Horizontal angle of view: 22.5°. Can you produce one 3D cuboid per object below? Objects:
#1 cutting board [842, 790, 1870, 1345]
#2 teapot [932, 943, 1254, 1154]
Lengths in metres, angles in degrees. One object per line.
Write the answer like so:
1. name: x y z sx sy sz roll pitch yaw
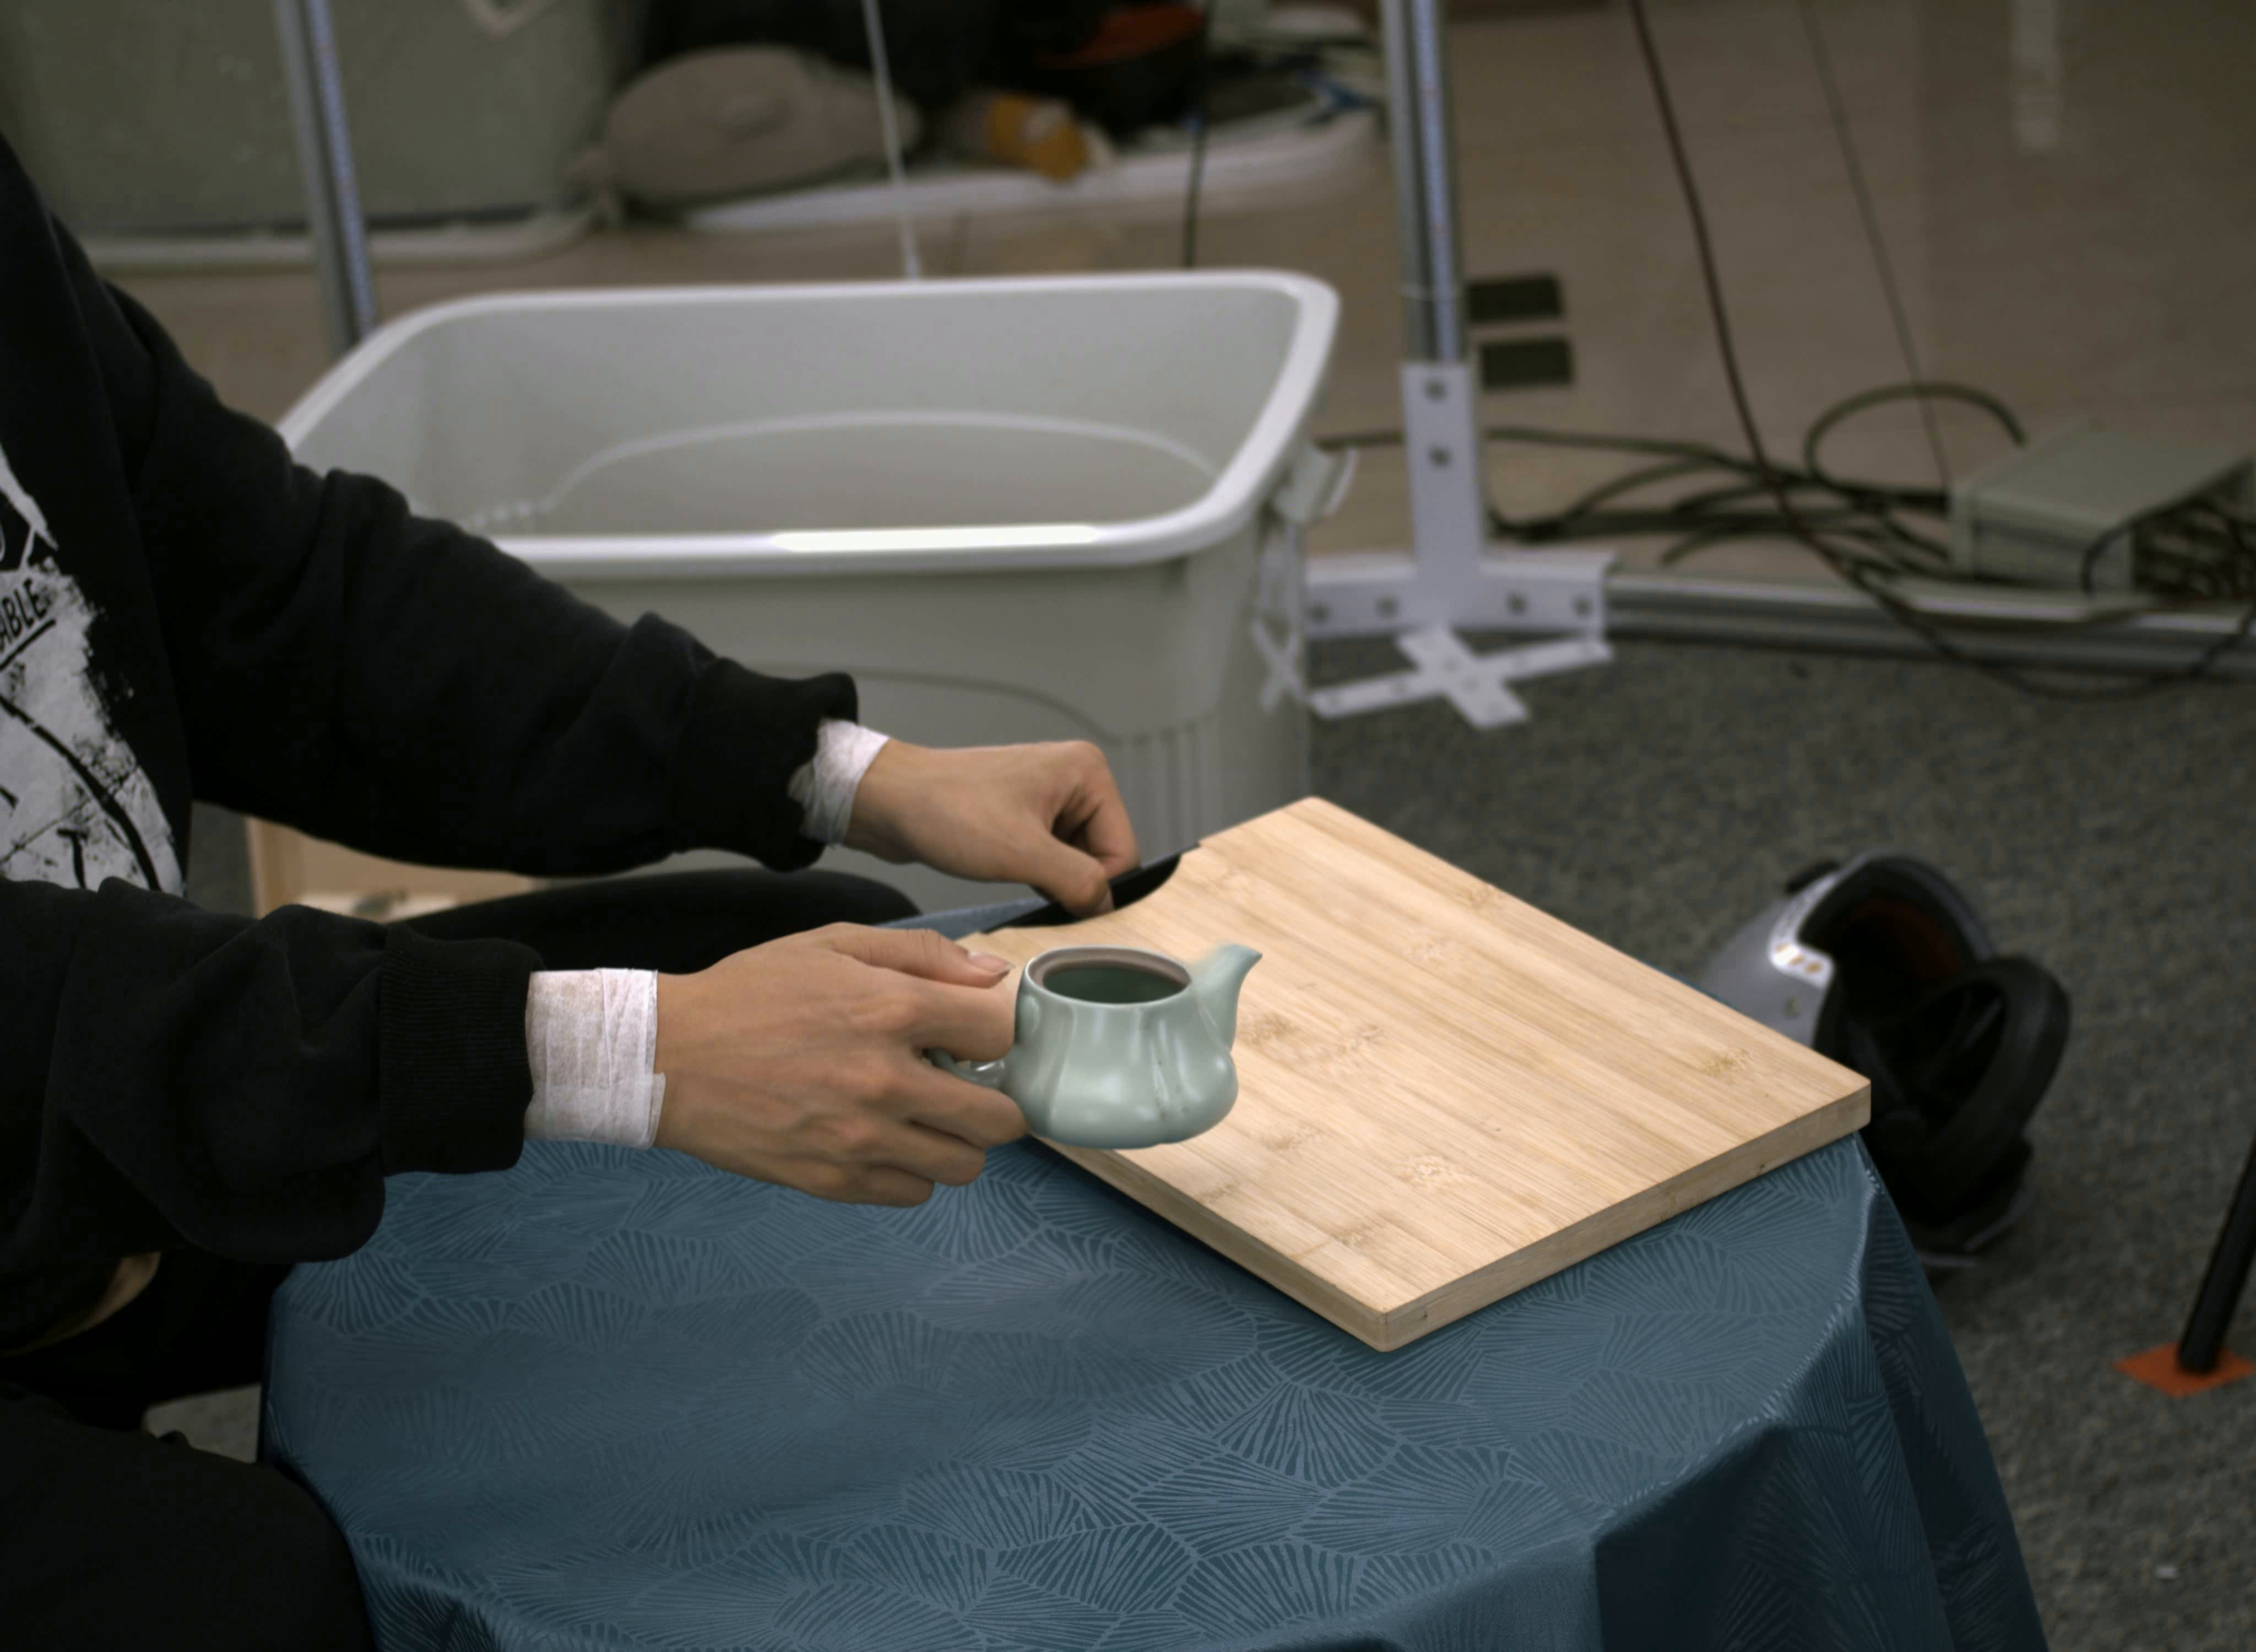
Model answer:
1. cutting board: 0.082 0.087 2.204 0.249 0.024 0.345 -23 32 -31
2. teapot: -0.013 0.079 2.019 0.136 0.062 0.095 -8 25 -34
